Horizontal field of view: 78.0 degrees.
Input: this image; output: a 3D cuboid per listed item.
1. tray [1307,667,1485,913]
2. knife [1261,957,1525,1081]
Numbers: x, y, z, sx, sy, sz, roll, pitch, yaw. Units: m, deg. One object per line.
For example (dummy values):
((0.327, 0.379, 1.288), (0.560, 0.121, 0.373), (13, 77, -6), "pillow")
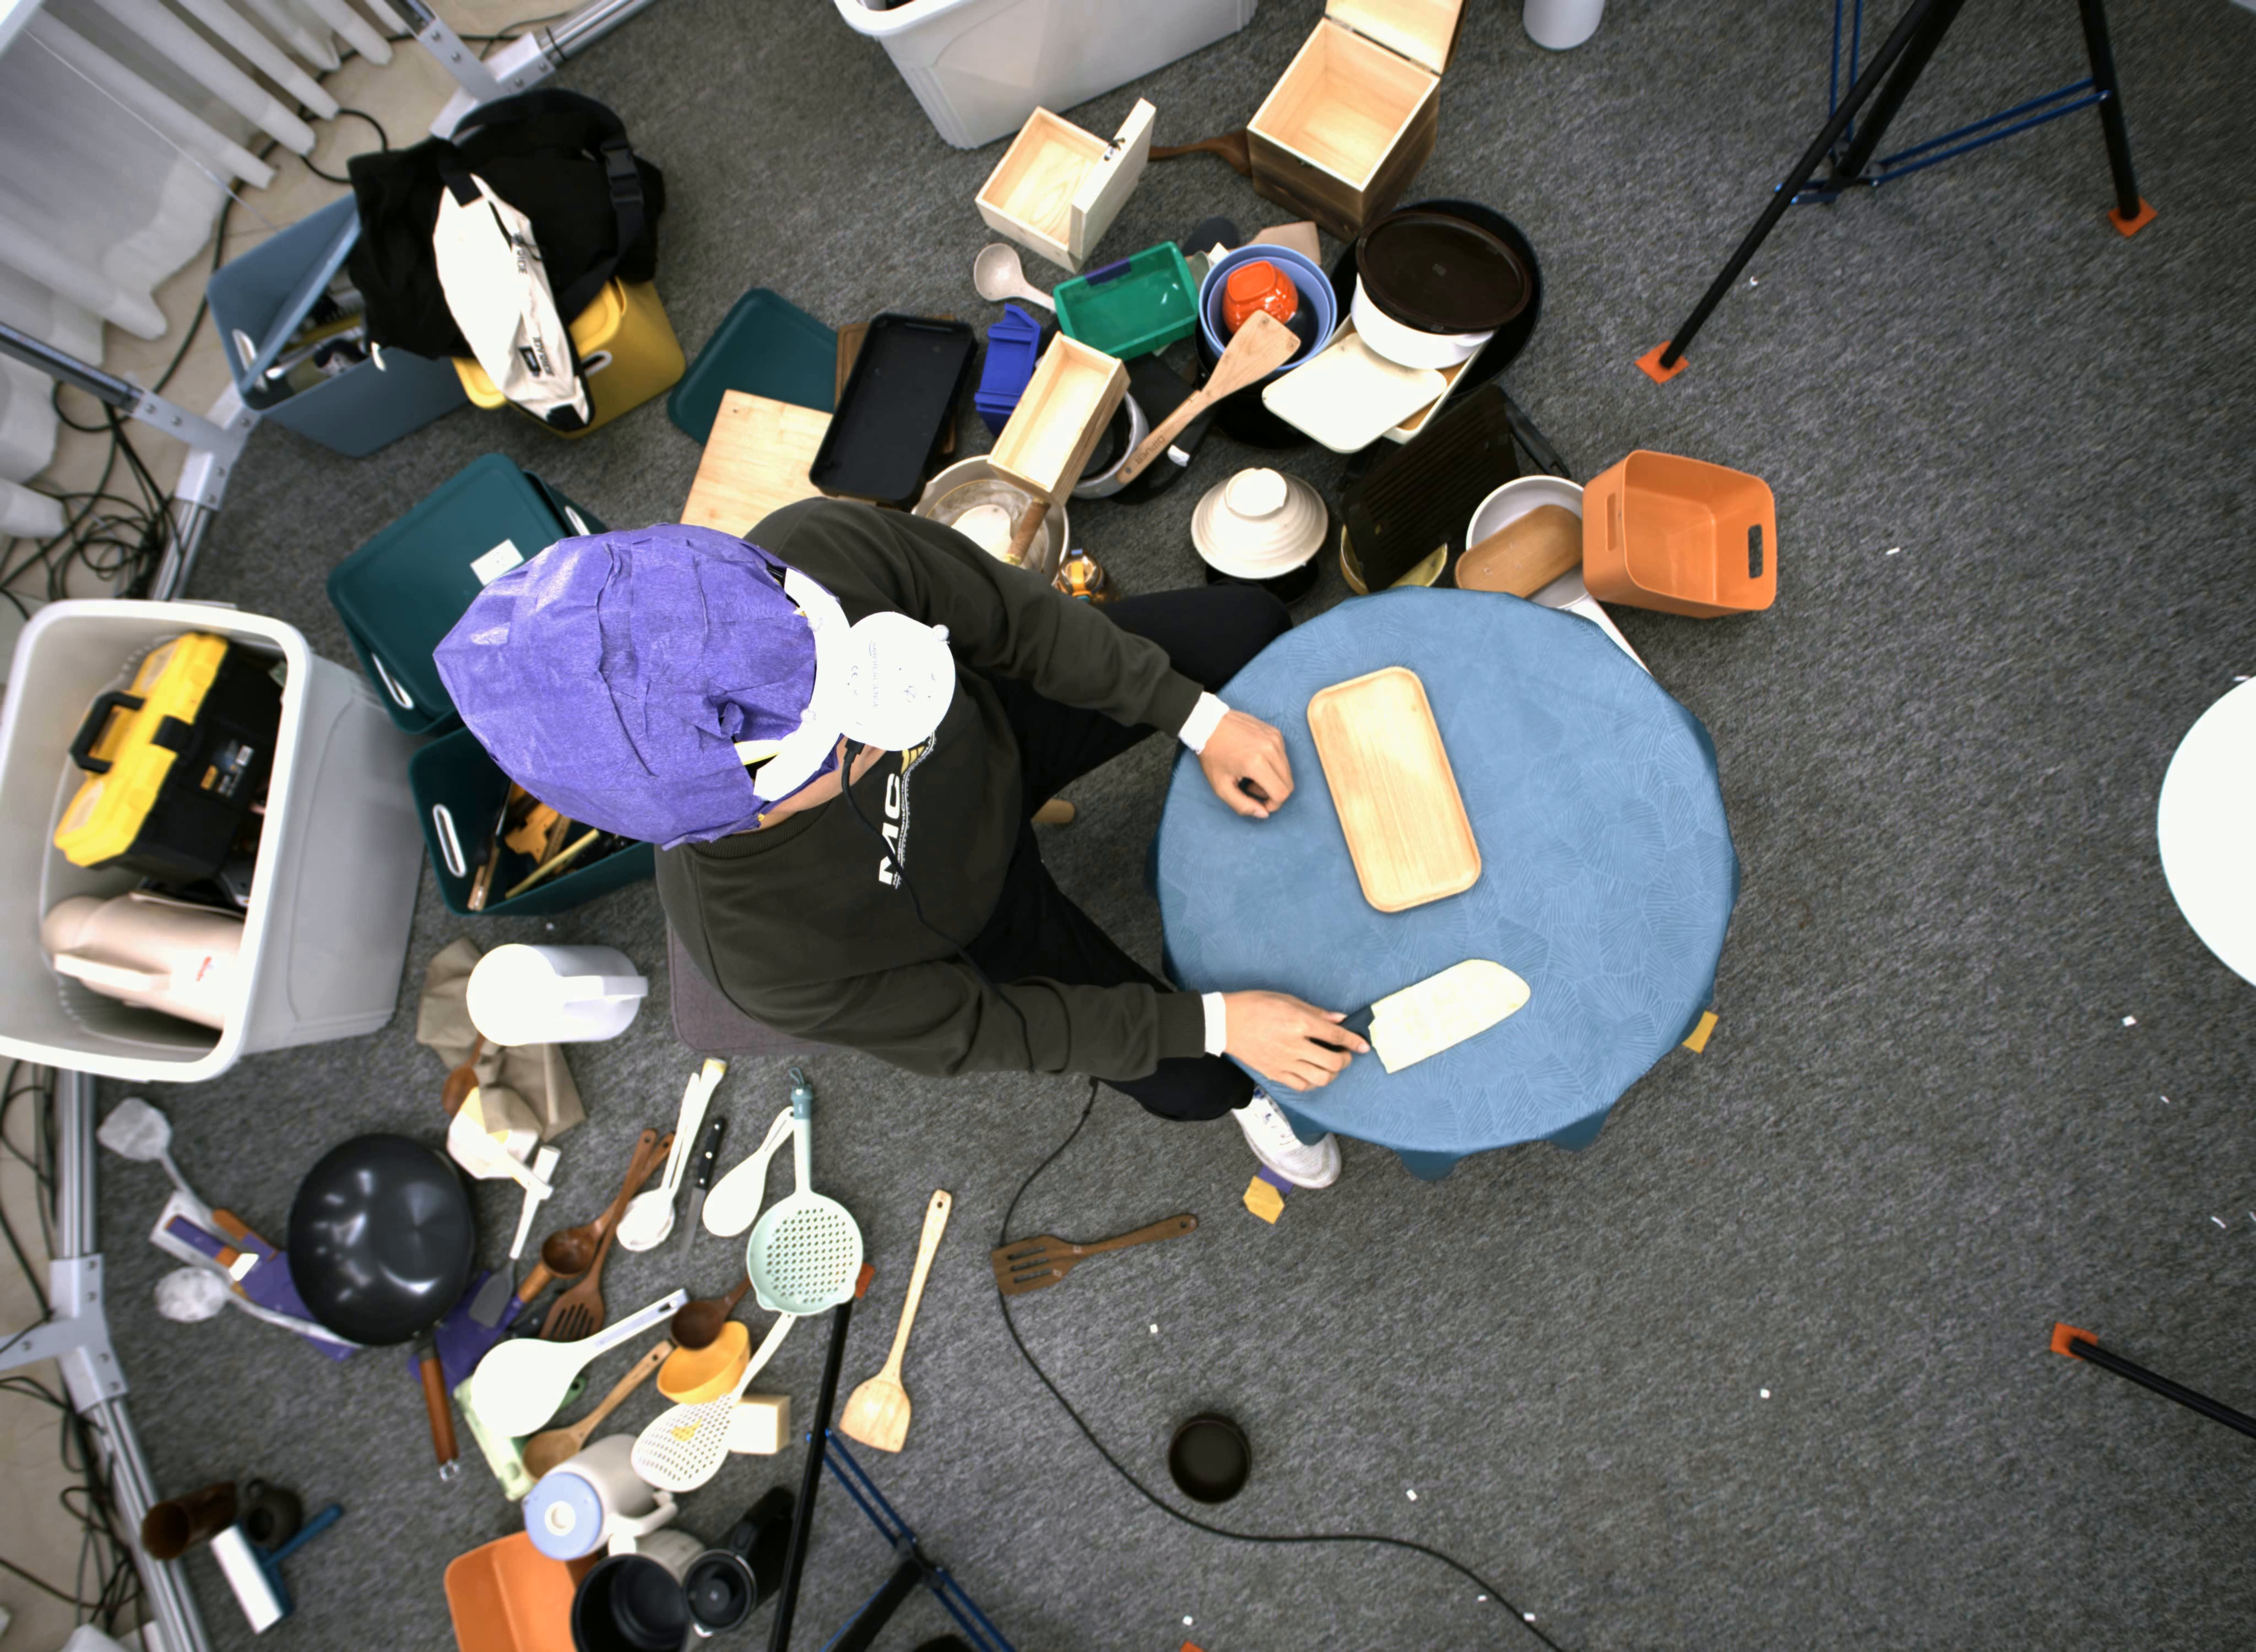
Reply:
((0.283, -0.040, 1.456), (0.131, 0.023, 0.249), (-18, 84, 12), "tray")
((0.278, 0.212, 1.443), (0.291, 0.027, 0.080), (-23, 82, 8), "knife")
